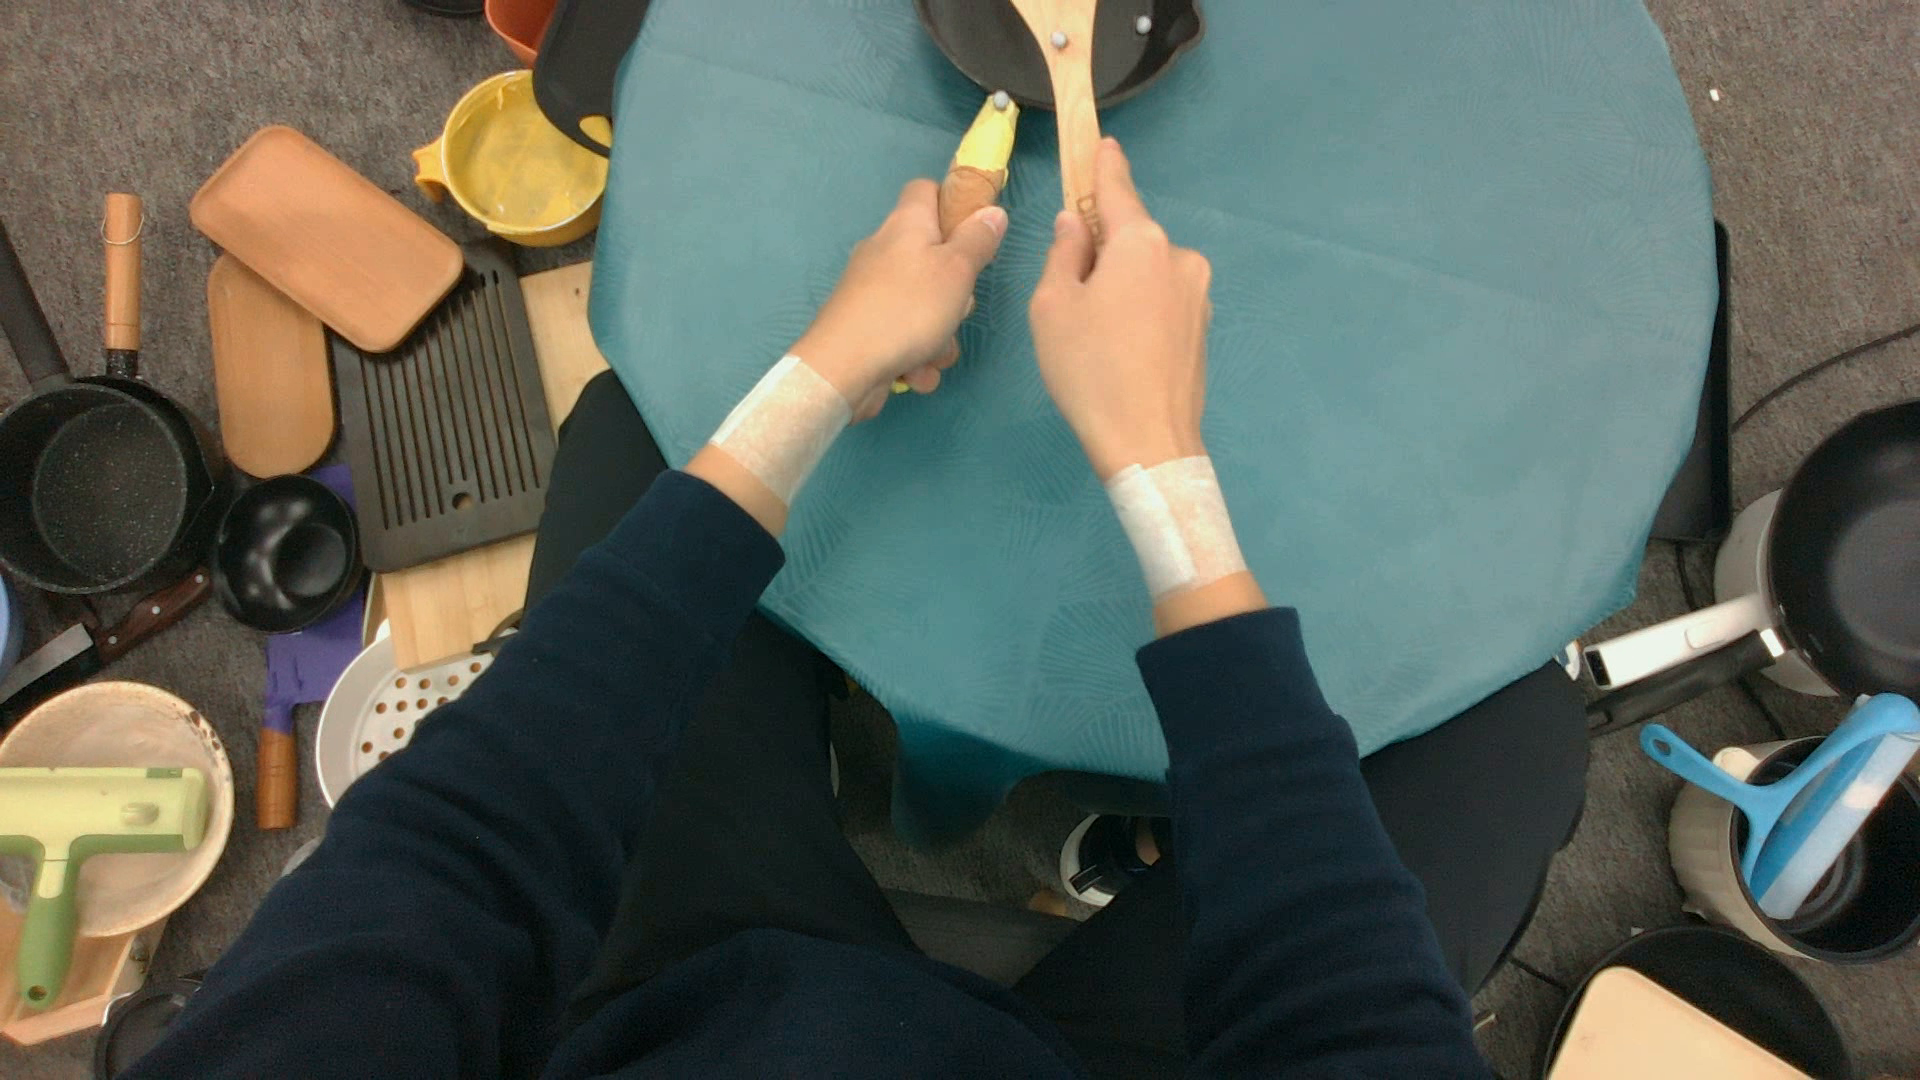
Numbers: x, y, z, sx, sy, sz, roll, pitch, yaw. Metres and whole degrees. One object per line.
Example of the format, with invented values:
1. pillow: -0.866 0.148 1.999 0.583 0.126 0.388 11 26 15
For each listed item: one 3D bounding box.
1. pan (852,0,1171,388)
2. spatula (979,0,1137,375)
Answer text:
1. pan: 0.003 -0.220 0.701 0.169 0.049 0.325 21 74 -5
2. spatula: 0.039 -0.224 0.657 0.080 0.016 0.328 -17 67 18
